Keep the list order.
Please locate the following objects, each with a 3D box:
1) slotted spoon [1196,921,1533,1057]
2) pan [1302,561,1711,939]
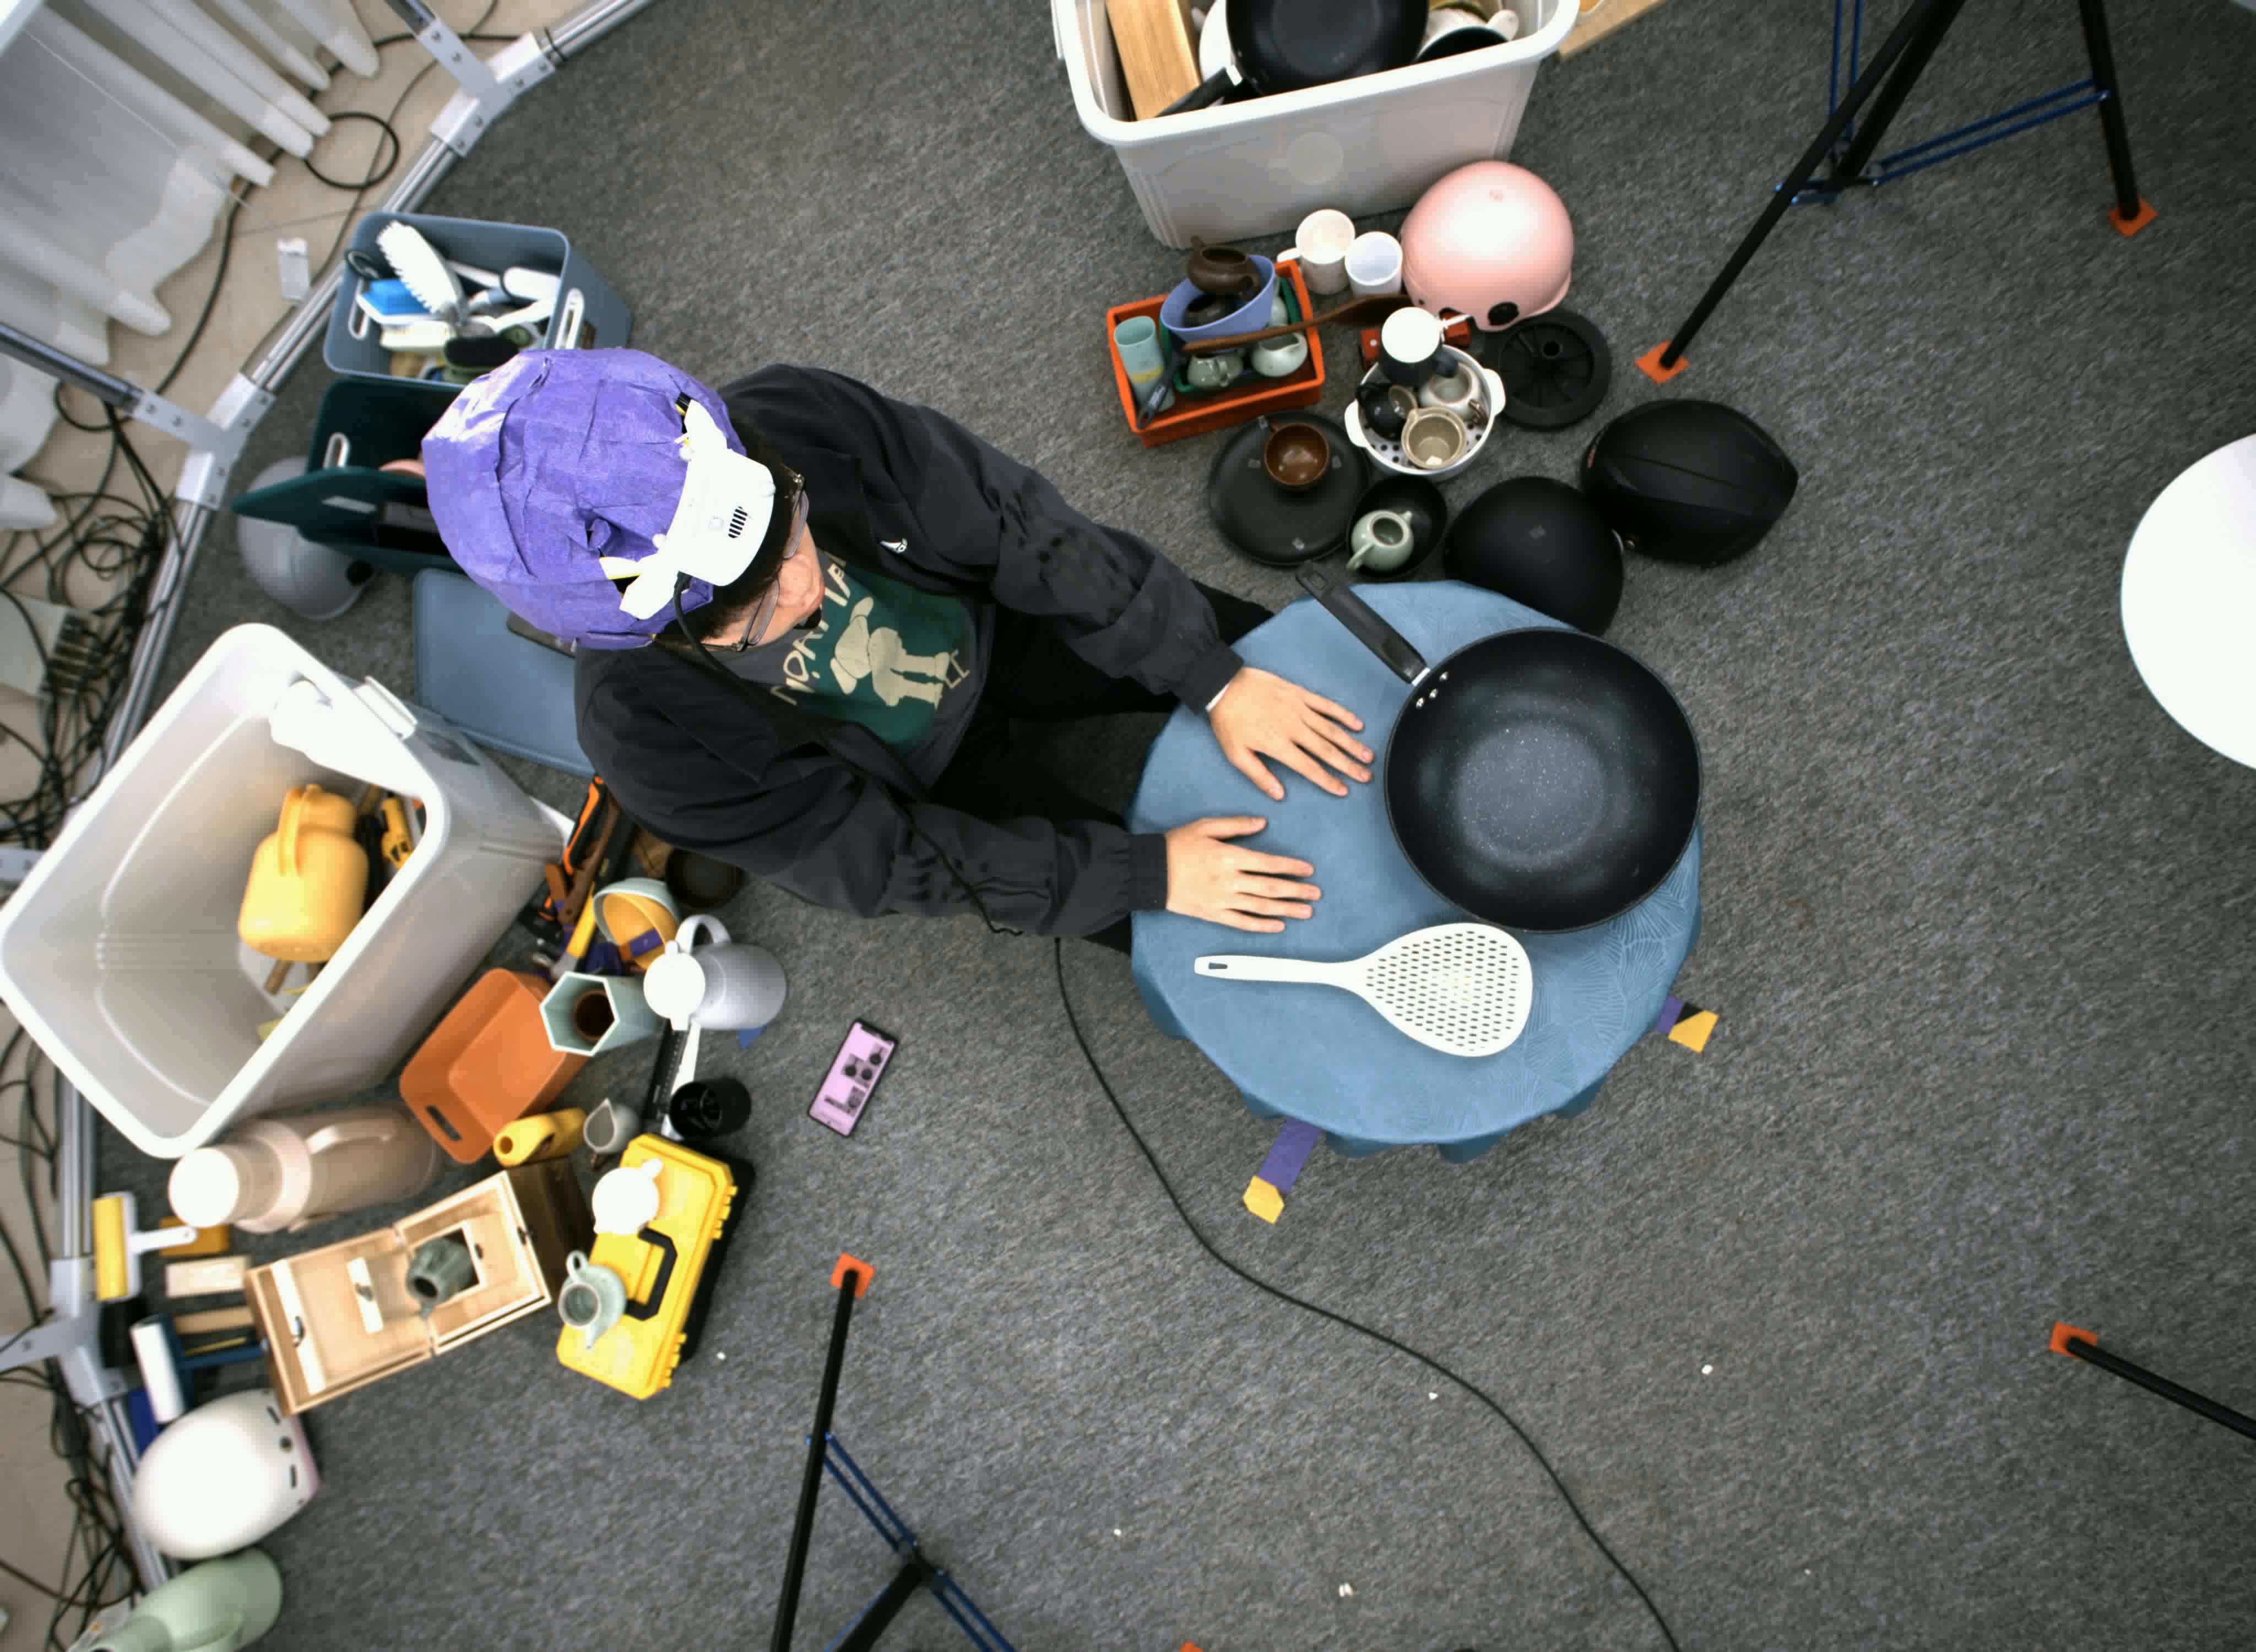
[{"bbox_3d":[0.240,0.156,1.439,0.349,0.050,0.136,4,89,11],"label":"slotted spoon"},{"bbox_3d":[0.360,-0.098,1.397,0.475,0.112,0.311,43,93,9],"label":"pan"}]
